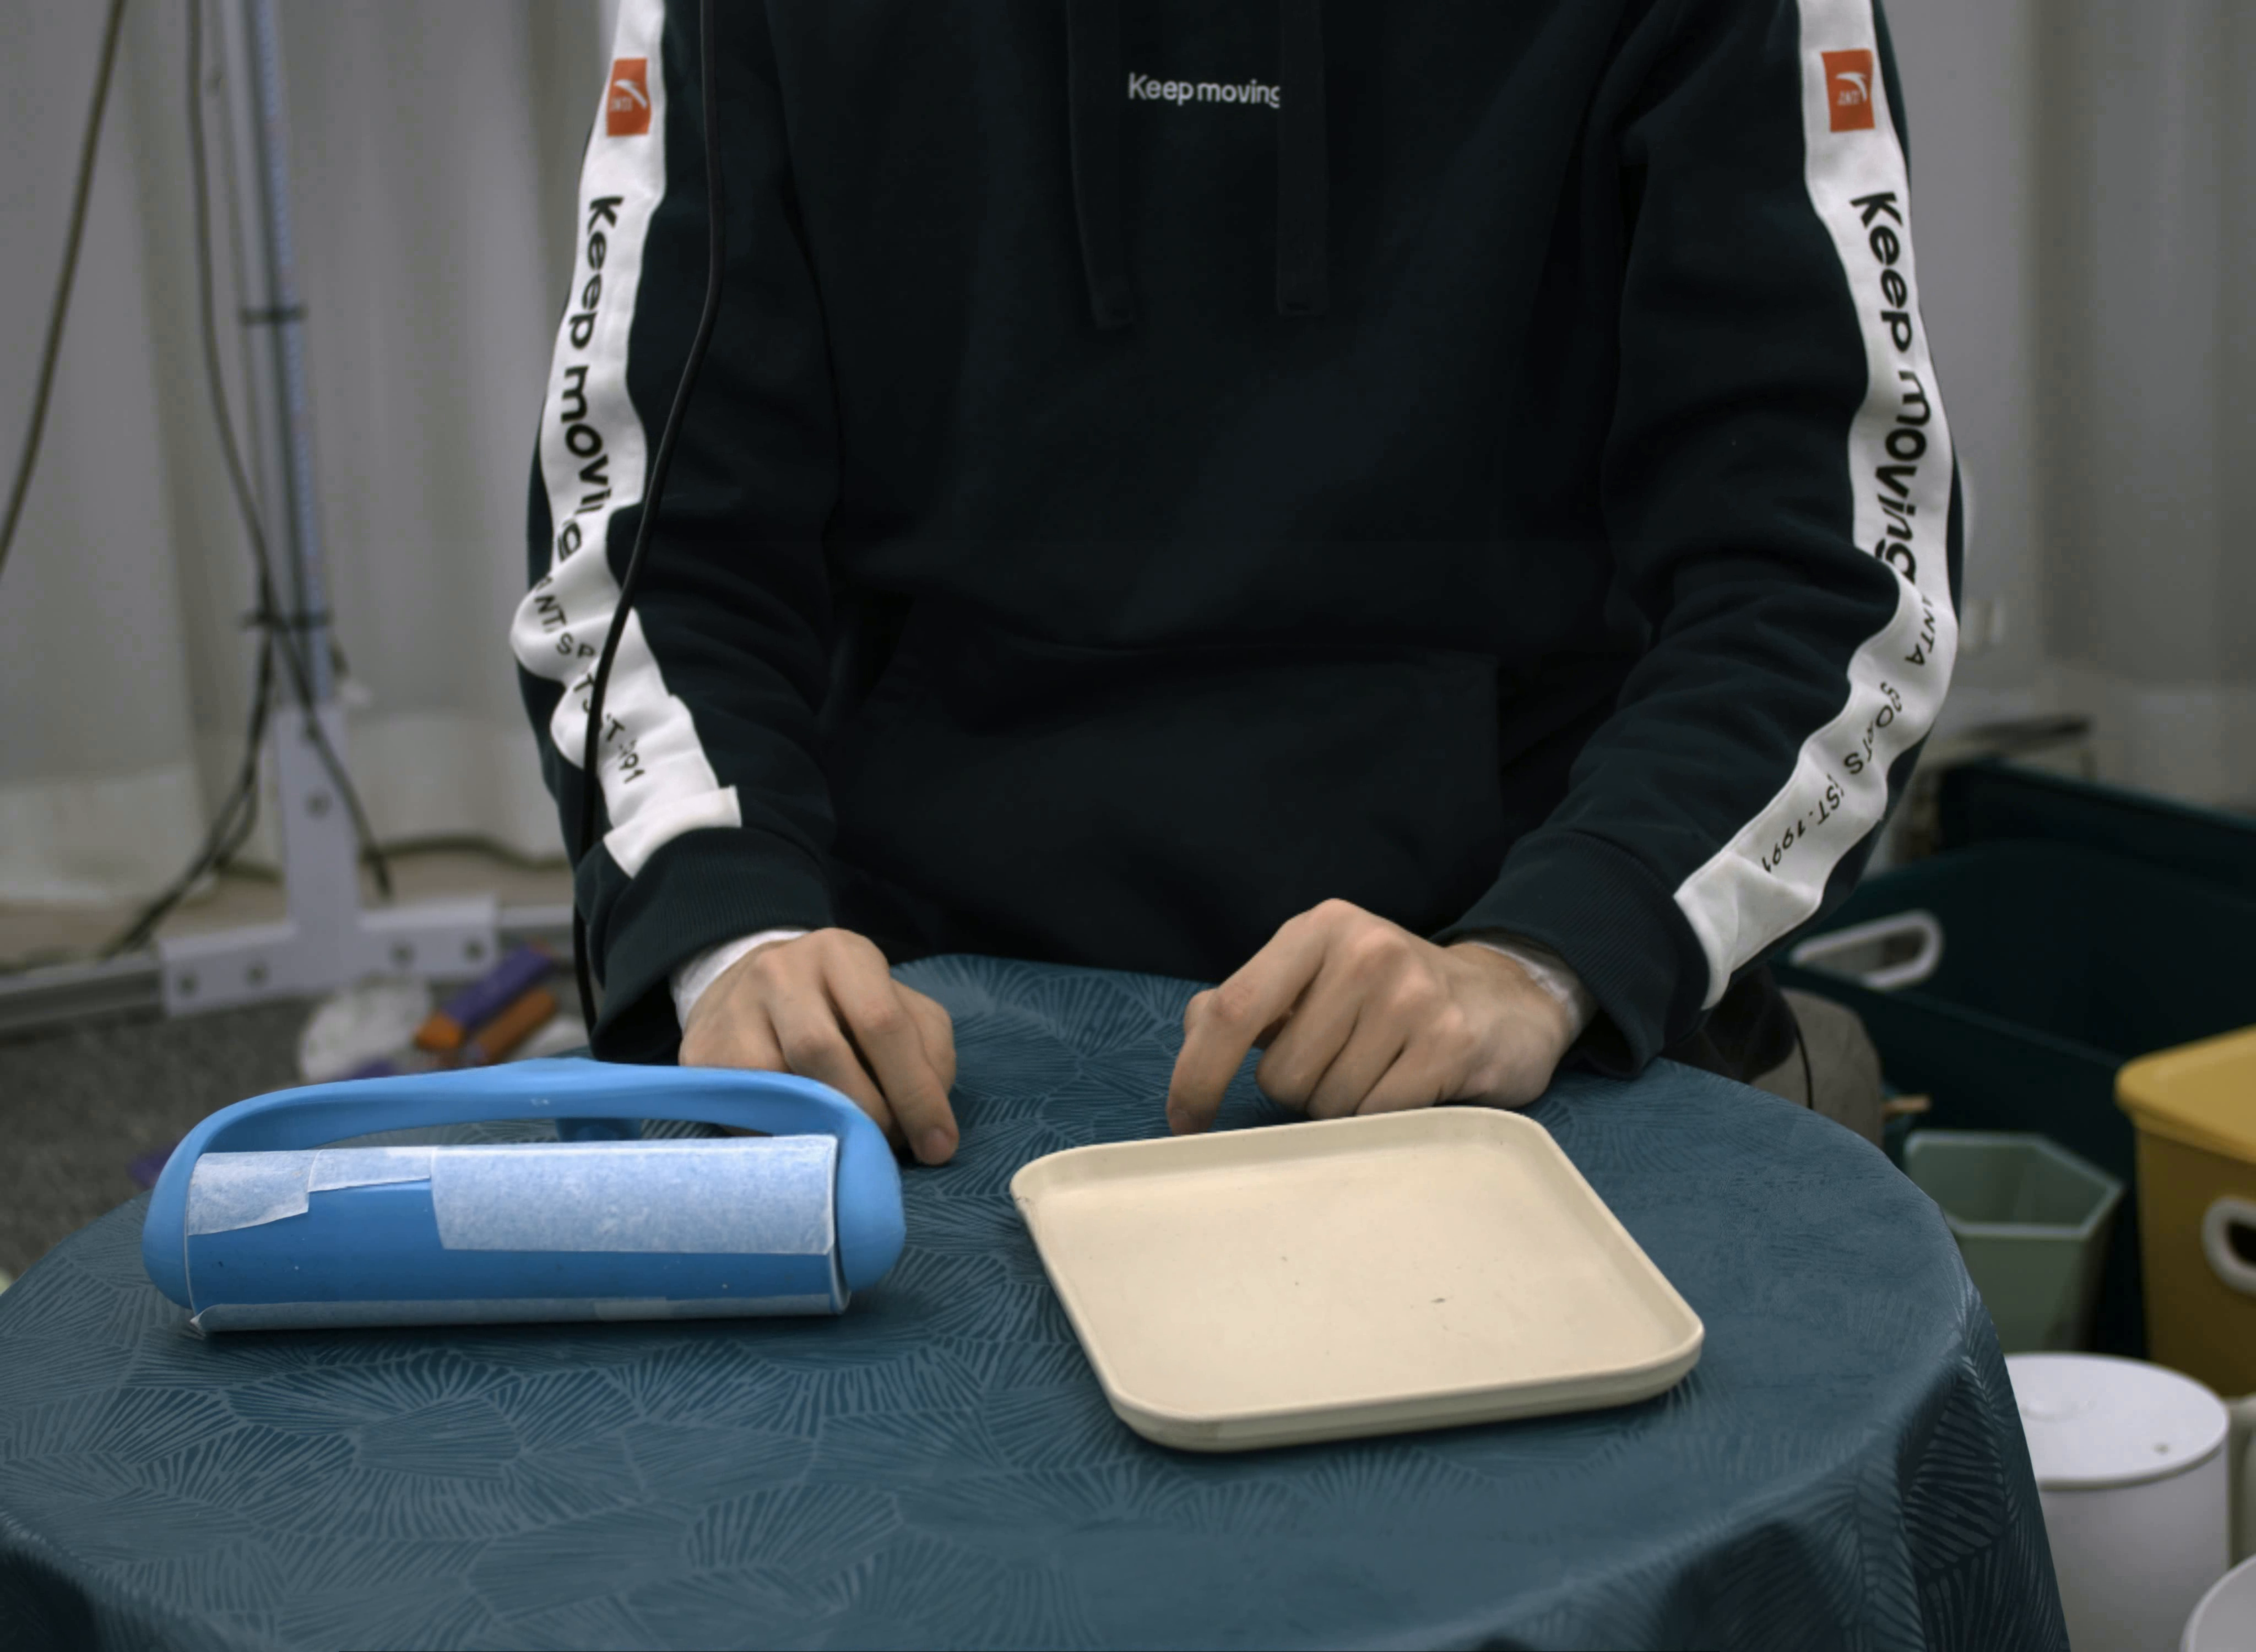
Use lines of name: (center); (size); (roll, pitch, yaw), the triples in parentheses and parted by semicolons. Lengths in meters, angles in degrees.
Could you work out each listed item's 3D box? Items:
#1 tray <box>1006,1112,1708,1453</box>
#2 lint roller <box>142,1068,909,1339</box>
tray: (0.063, 0.132, 1.601); (0.170, 0.017, 0.241); (-5, 15, -9)
lint roller: (-0.178, 0.105, 1.678); (0.228, 0.067, 0.181); (-4, 16, 2)
